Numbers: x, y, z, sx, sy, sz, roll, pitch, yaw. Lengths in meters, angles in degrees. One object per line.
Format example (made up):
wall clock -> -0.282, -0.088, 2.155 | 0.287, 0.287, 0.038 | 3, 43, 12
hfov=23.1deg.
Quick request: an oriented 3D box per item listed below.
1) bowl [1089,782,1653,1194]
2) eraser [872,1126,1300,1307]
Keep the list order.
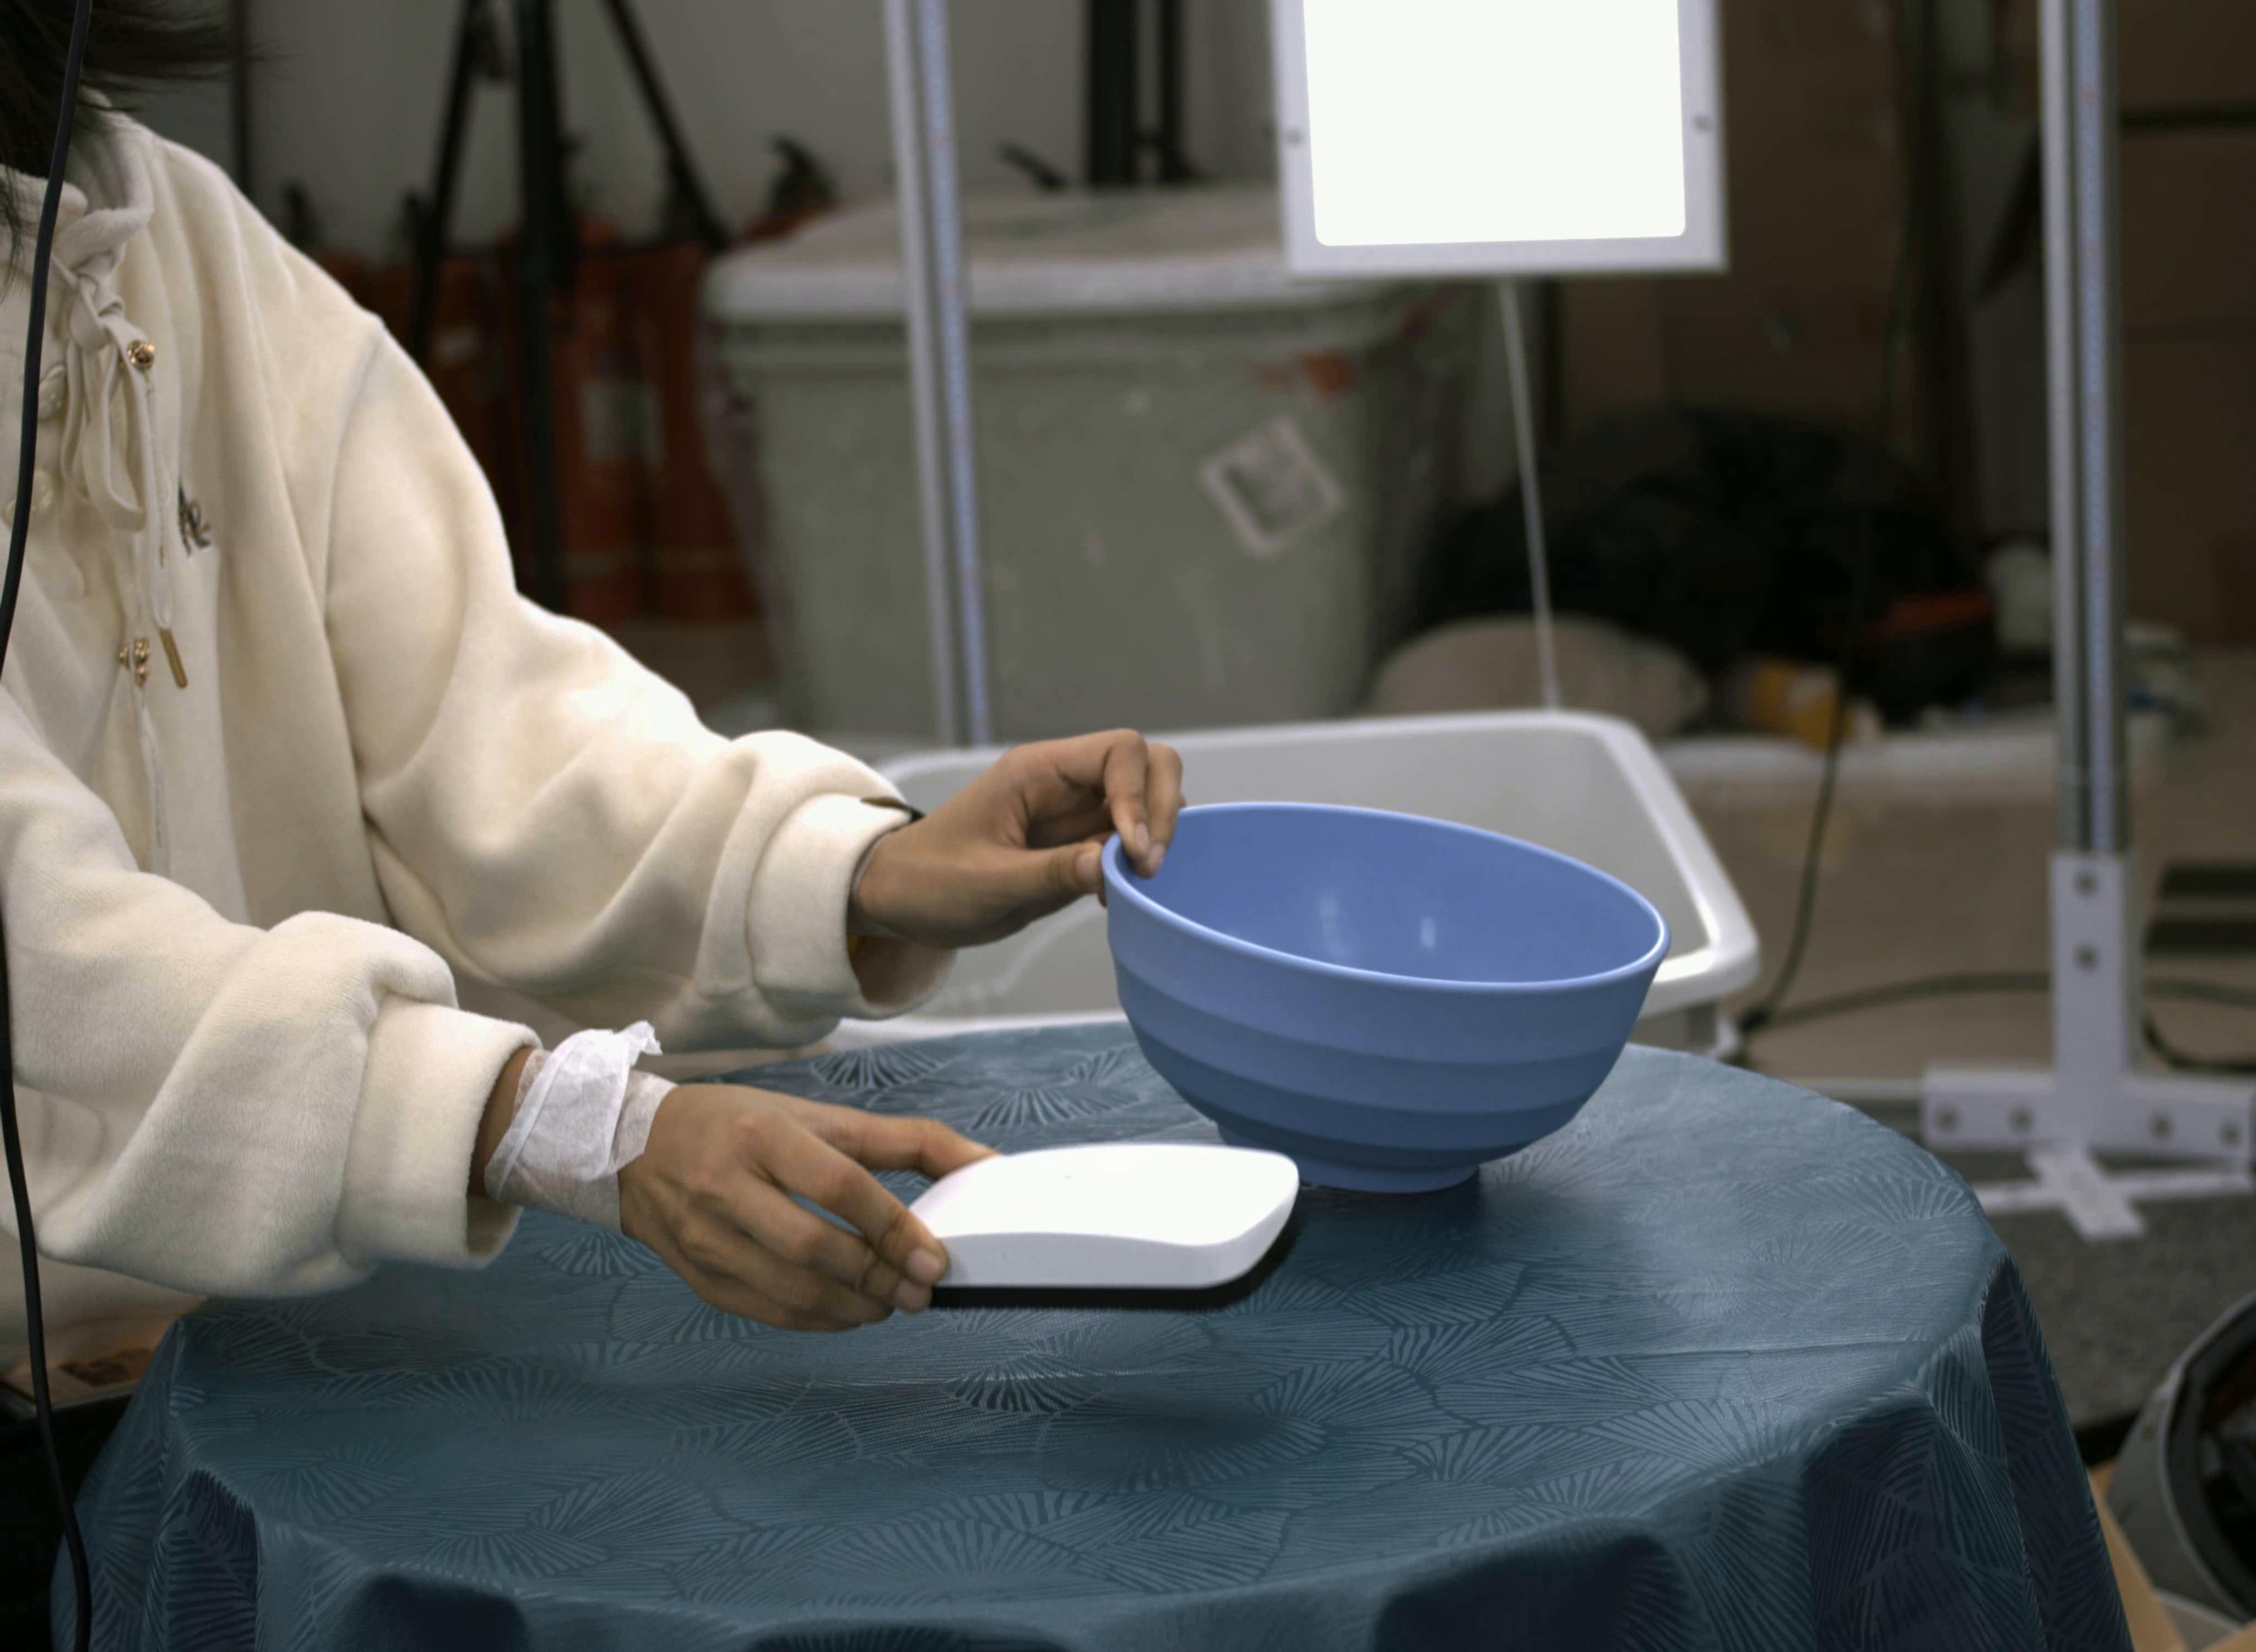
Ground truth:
bowl -> 0.075, 0.064, 1.885 | 0.195, 0.096, 0.196 | 9, 20, -5
eraser -> -0.012, 0.120, 1.676 | 0.134, 0.034, 0.062 | -2, 22, 34
